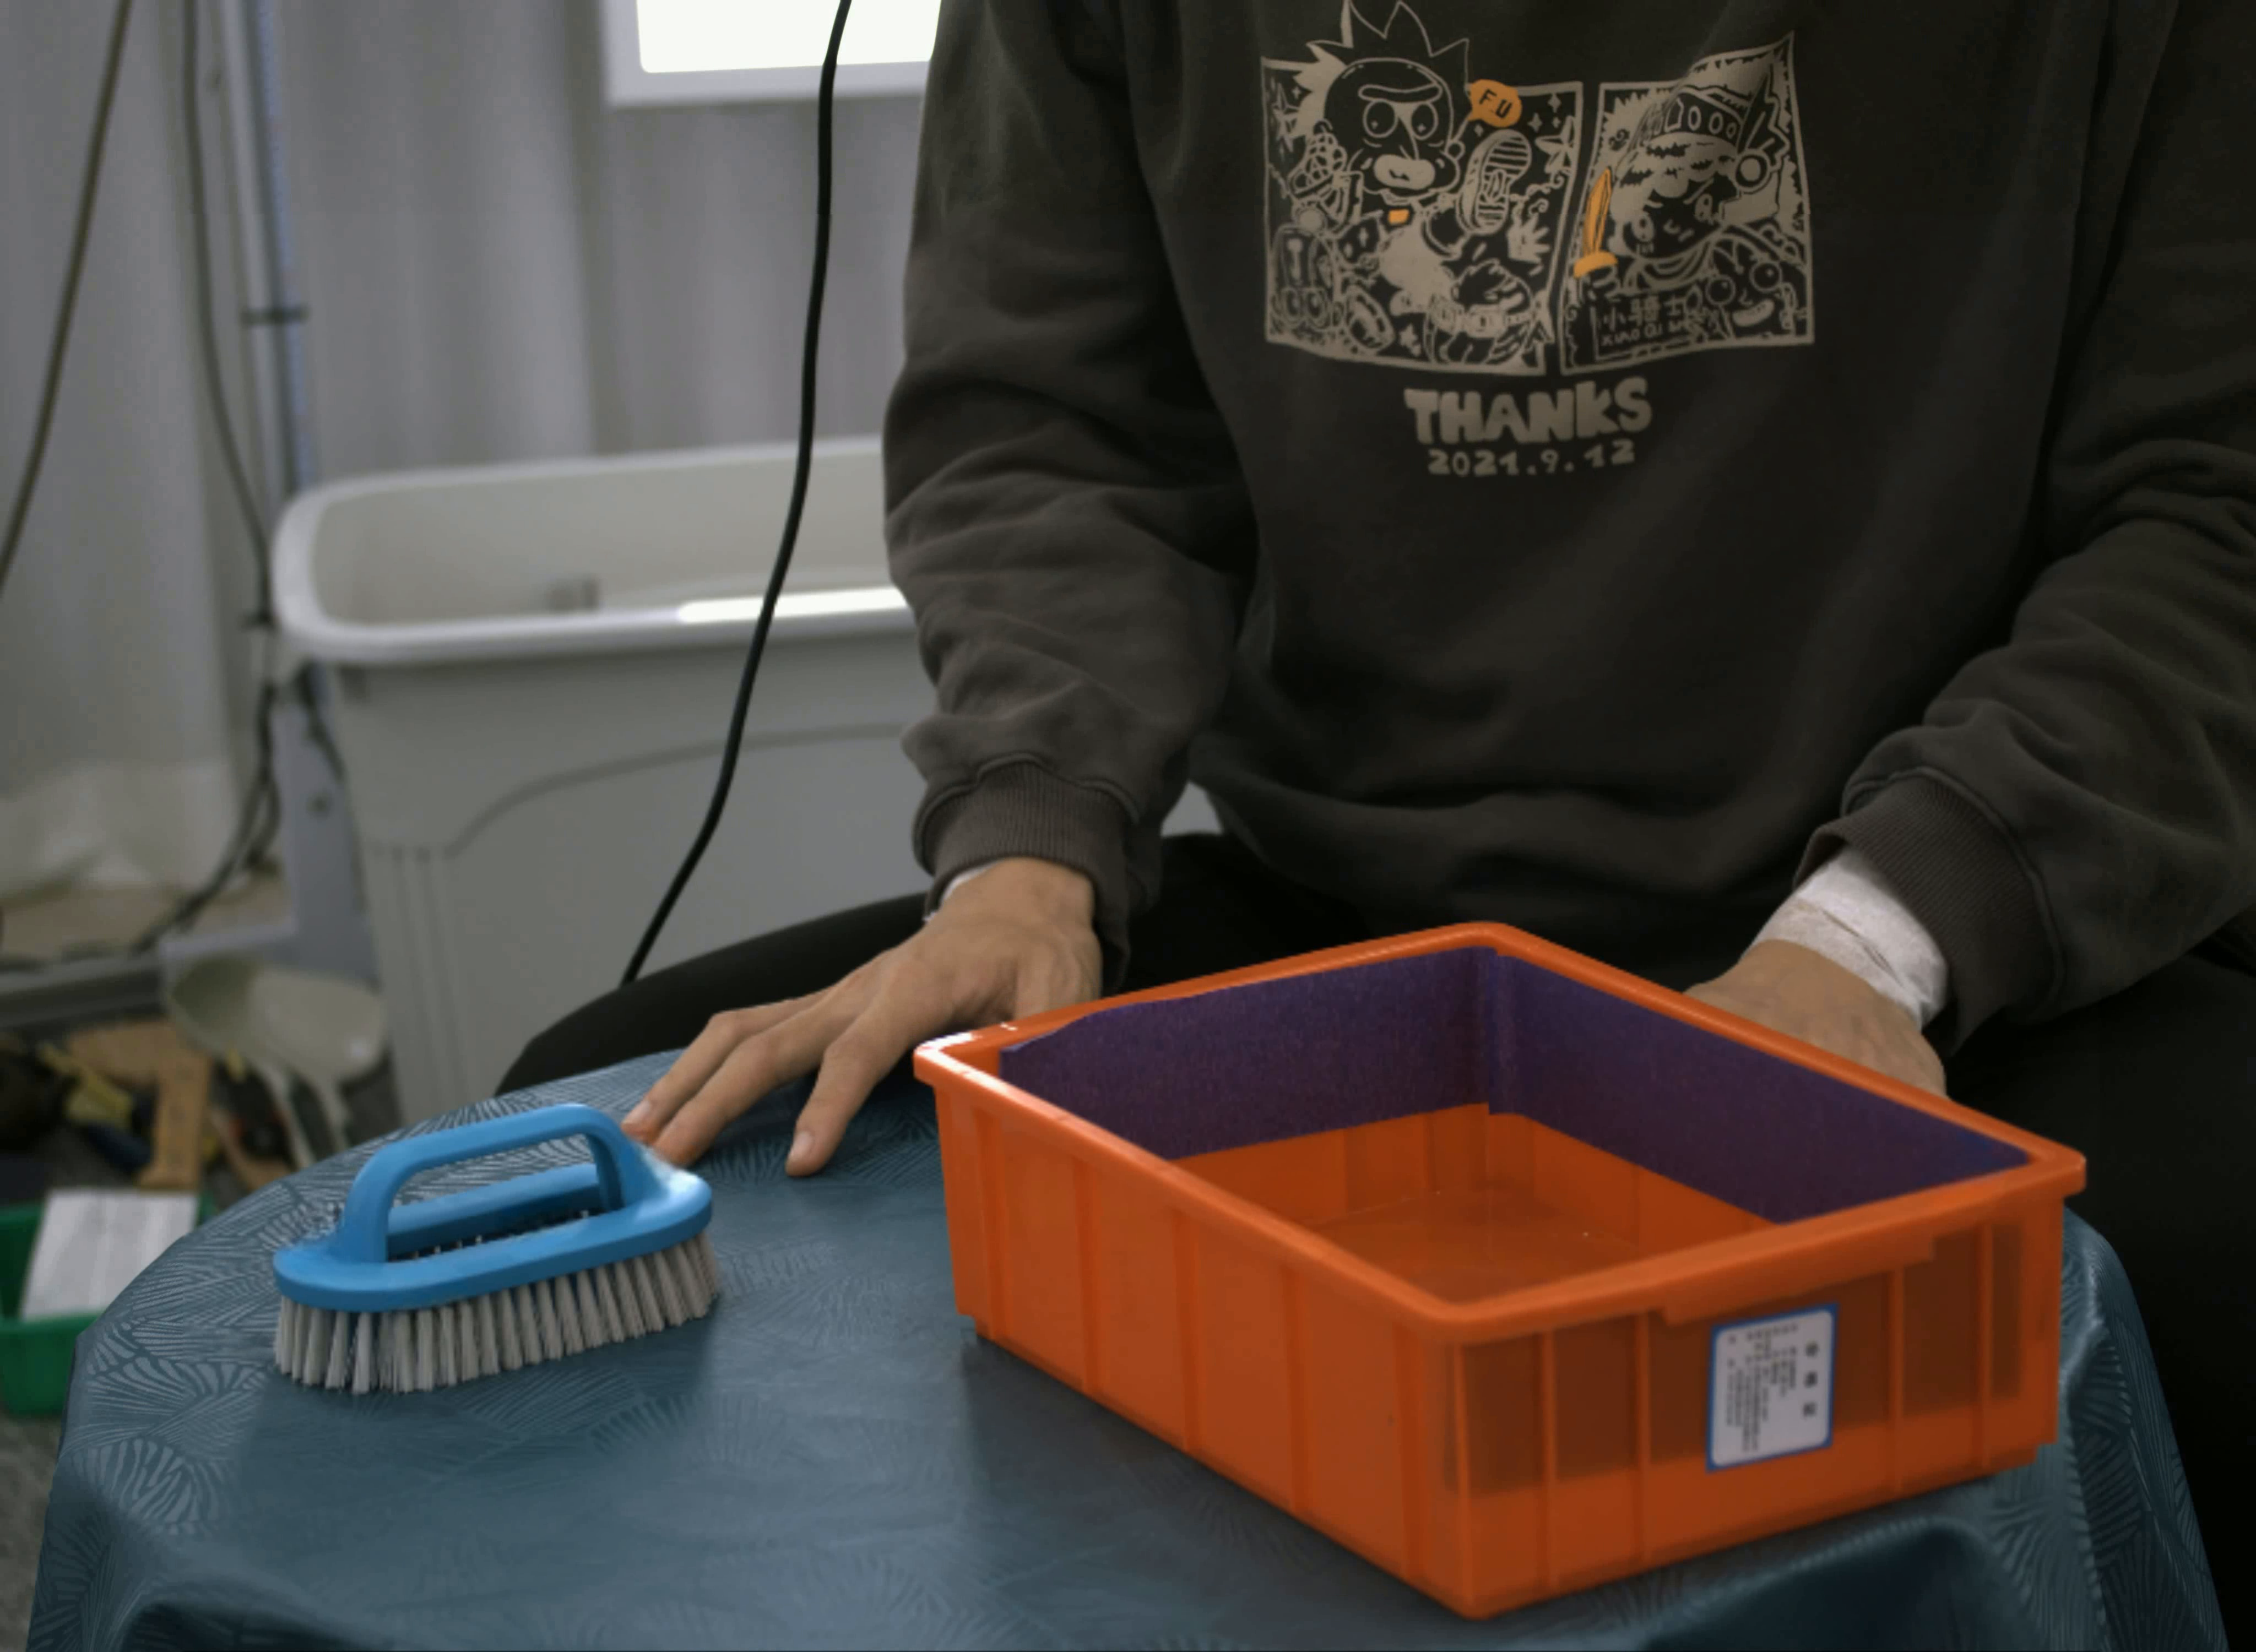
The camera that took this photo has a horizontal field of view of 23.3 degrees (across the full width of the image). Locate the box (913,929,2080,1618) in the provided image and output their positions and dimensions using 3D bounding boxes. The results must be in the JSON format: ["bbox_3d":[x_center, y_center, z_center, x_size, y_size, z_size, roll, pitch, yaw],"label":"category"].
[{"bbox_3d":[0.096,0.118,1.526,0.206,0.096,0.306,-11,17,-27],"label":"box"}]

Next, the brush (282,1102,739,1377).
[{"bbox_3d":[-0.185,0.118,1.622,0.141,0.063,0.085,-10,12,-29],"label":"brush"}]
